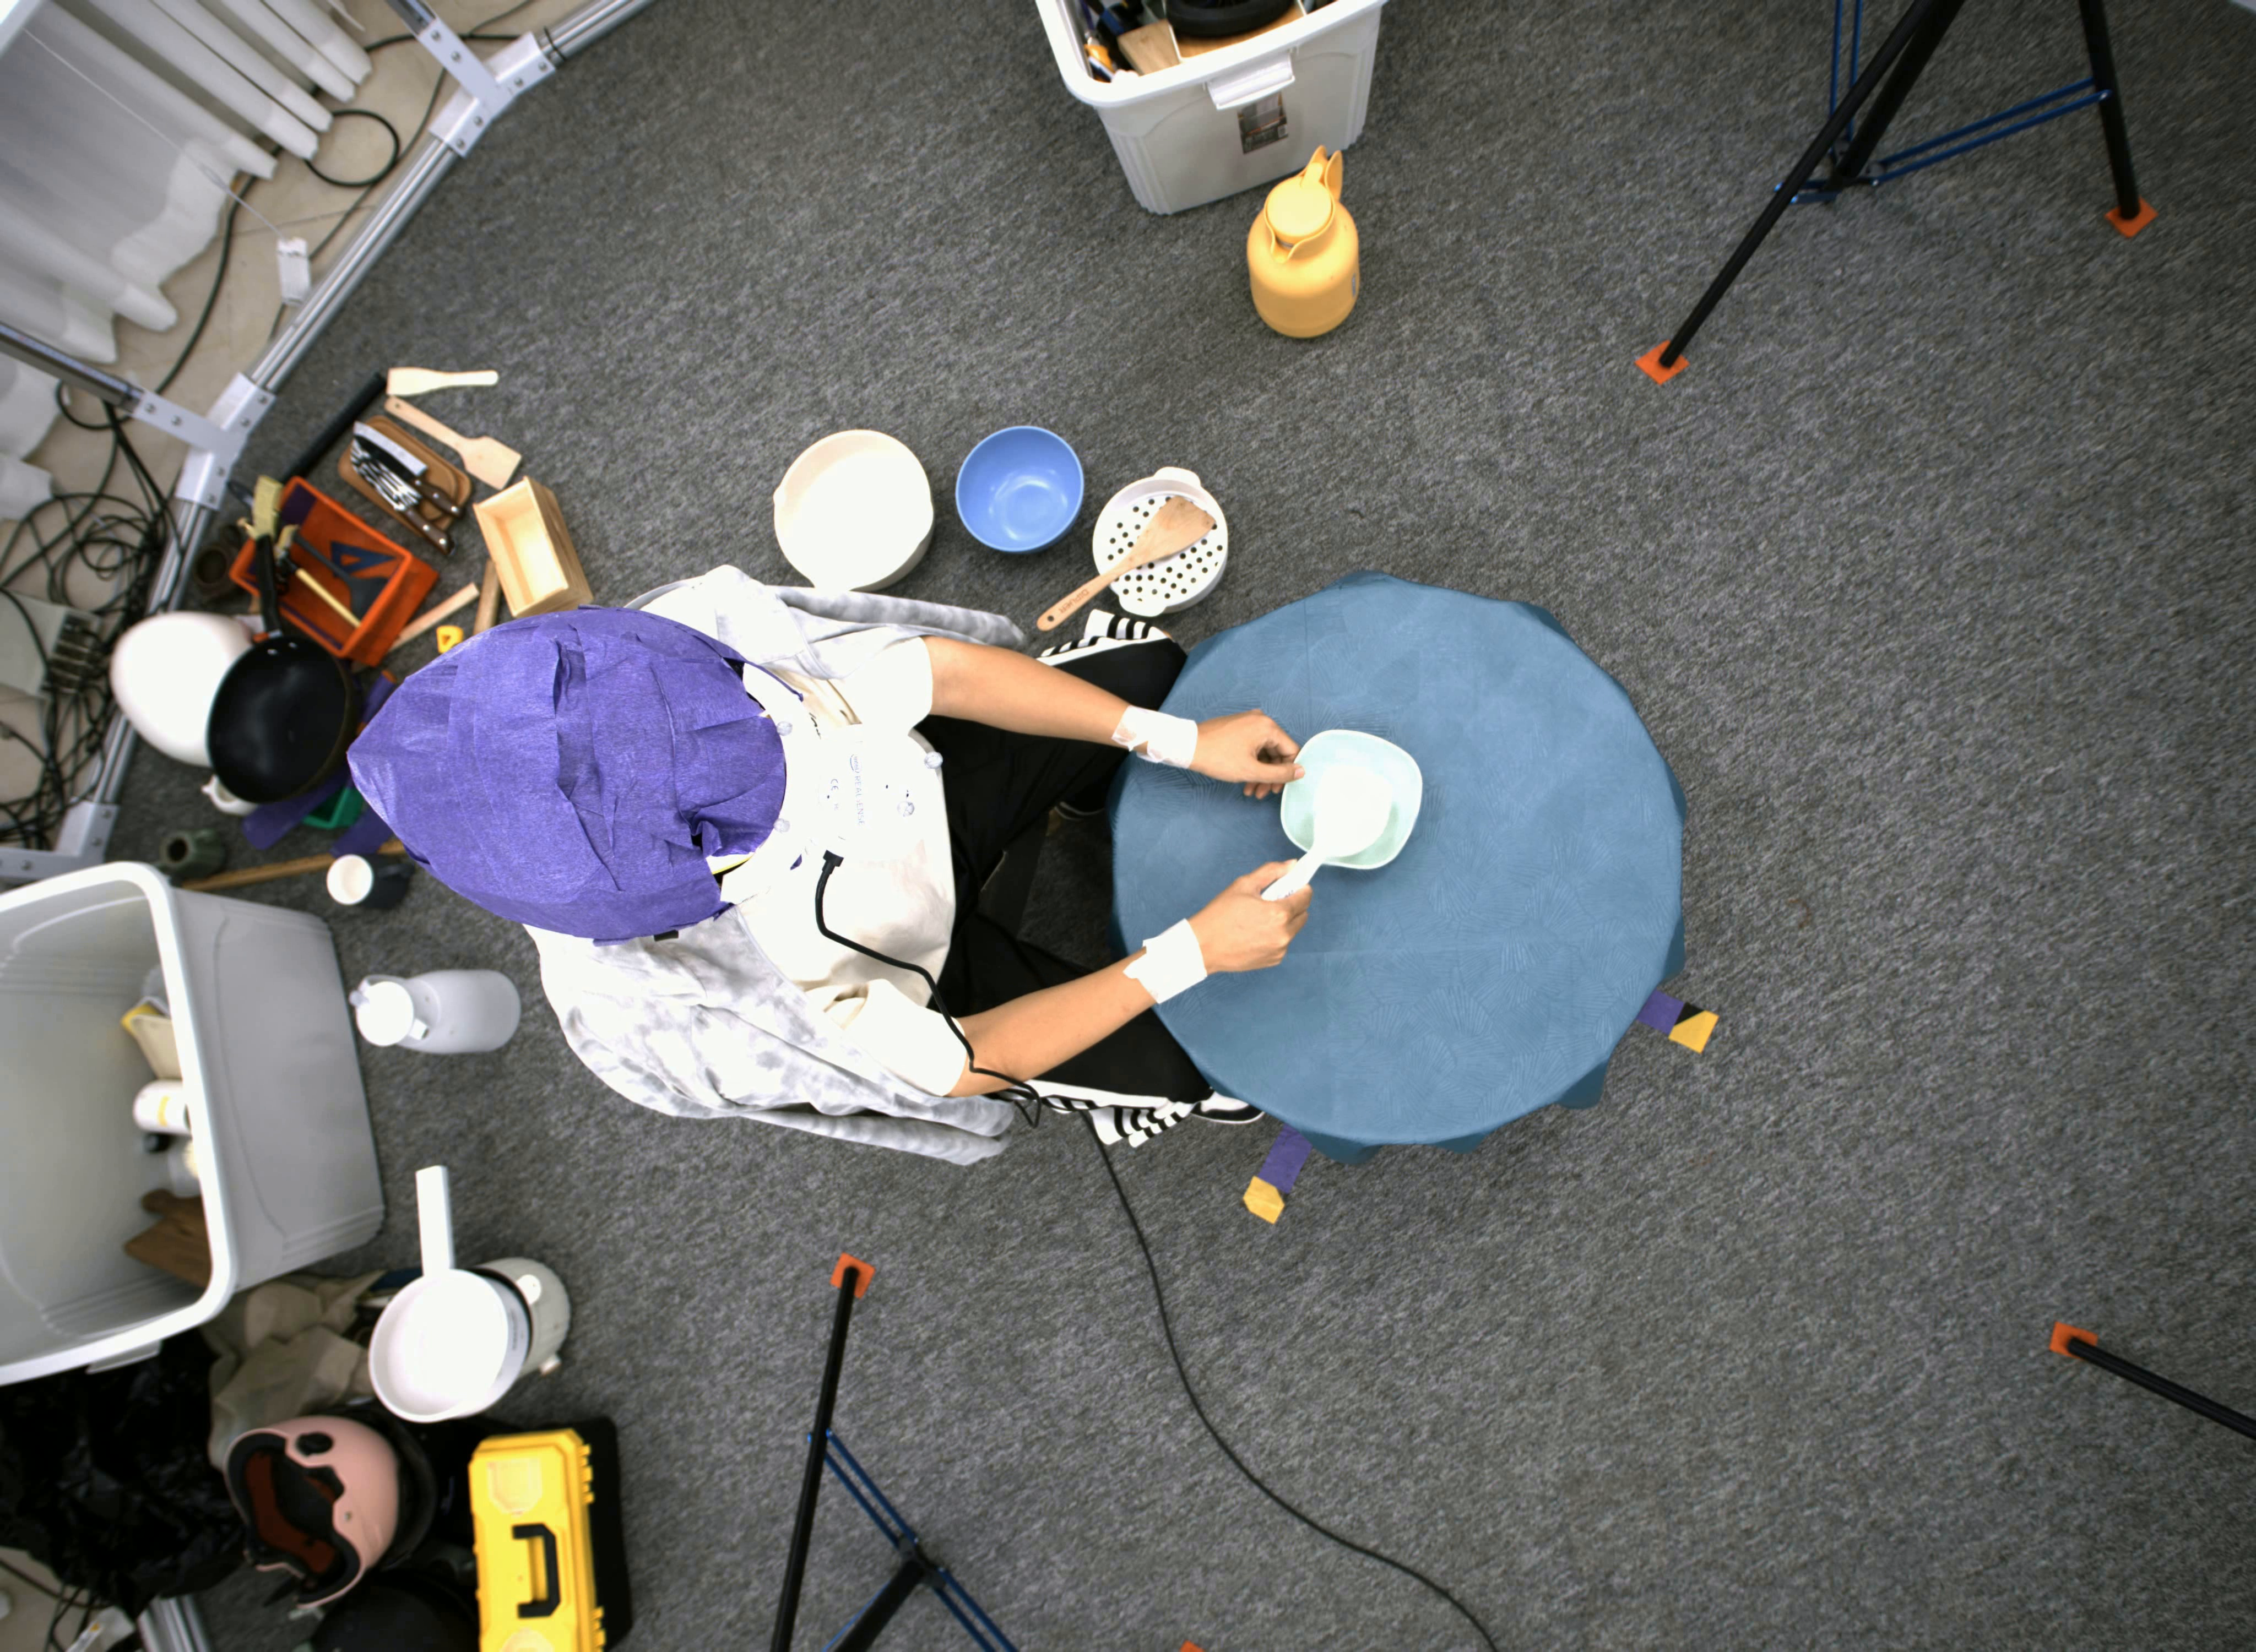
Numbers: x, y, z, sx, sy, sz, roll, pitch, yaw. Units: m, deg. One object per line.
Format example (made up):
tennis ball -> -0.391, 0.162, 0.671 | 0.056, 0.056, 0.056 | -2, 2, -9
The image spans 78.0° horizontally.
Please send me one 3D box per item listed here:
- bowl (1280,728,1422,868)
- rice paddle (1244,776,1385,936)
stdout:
bowl -> 0.232, -0.028, 1.441 | 0.152, 0.058, 0.151 | 0, 88, 8
rice paddle -> 0.190, 0.026, 1.388 | 0.069, 0.030, 0.202 | 44, 72, -4
